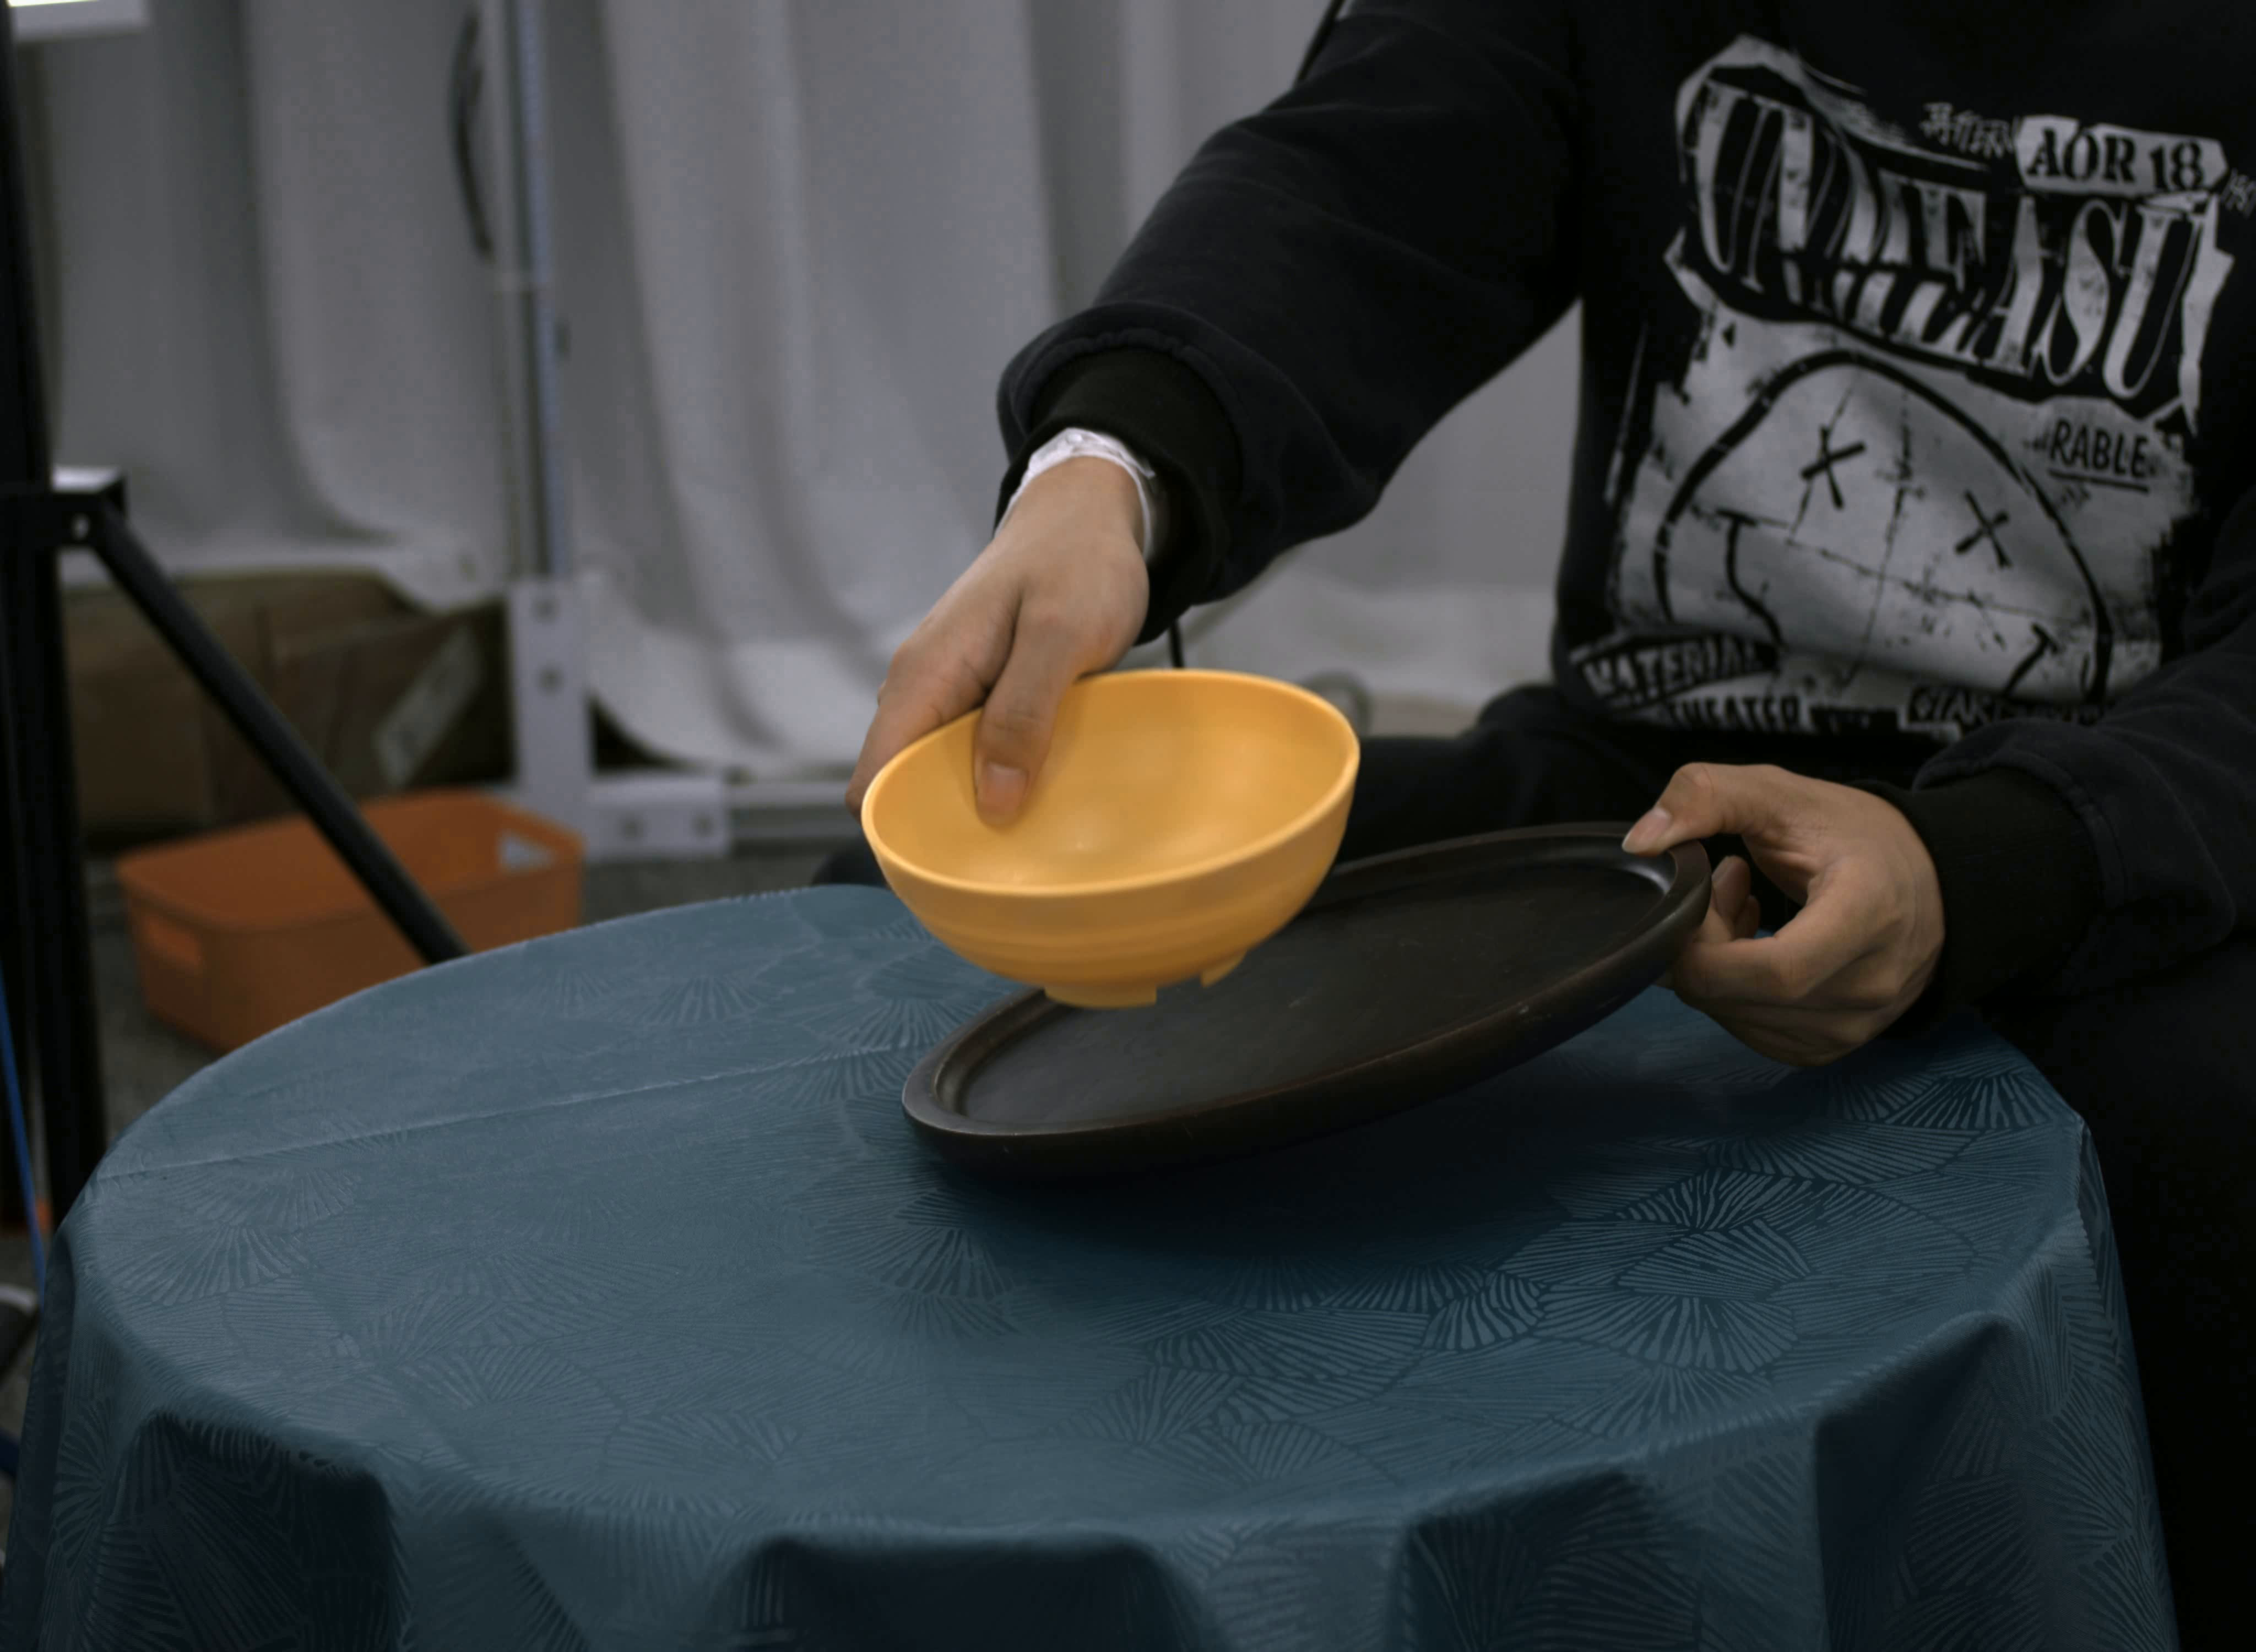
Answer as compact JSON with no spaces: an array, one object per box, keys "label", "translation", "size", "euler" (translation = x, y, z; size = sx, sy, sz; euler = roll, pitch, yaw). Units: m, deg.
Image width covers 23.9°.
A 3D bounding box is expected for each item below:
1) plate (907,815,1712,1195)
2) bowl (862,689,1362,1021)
[{"label":"plate","translation":[0.055,0.053,1.594],"size":[0.254,0.029,0.256],"euler":[-19,10,2]},{"label":"bowl","translation":[-0.002,0.015,1.536],"size":[0.145,0.060,0.146],"euler":[-6,24,1]}]
